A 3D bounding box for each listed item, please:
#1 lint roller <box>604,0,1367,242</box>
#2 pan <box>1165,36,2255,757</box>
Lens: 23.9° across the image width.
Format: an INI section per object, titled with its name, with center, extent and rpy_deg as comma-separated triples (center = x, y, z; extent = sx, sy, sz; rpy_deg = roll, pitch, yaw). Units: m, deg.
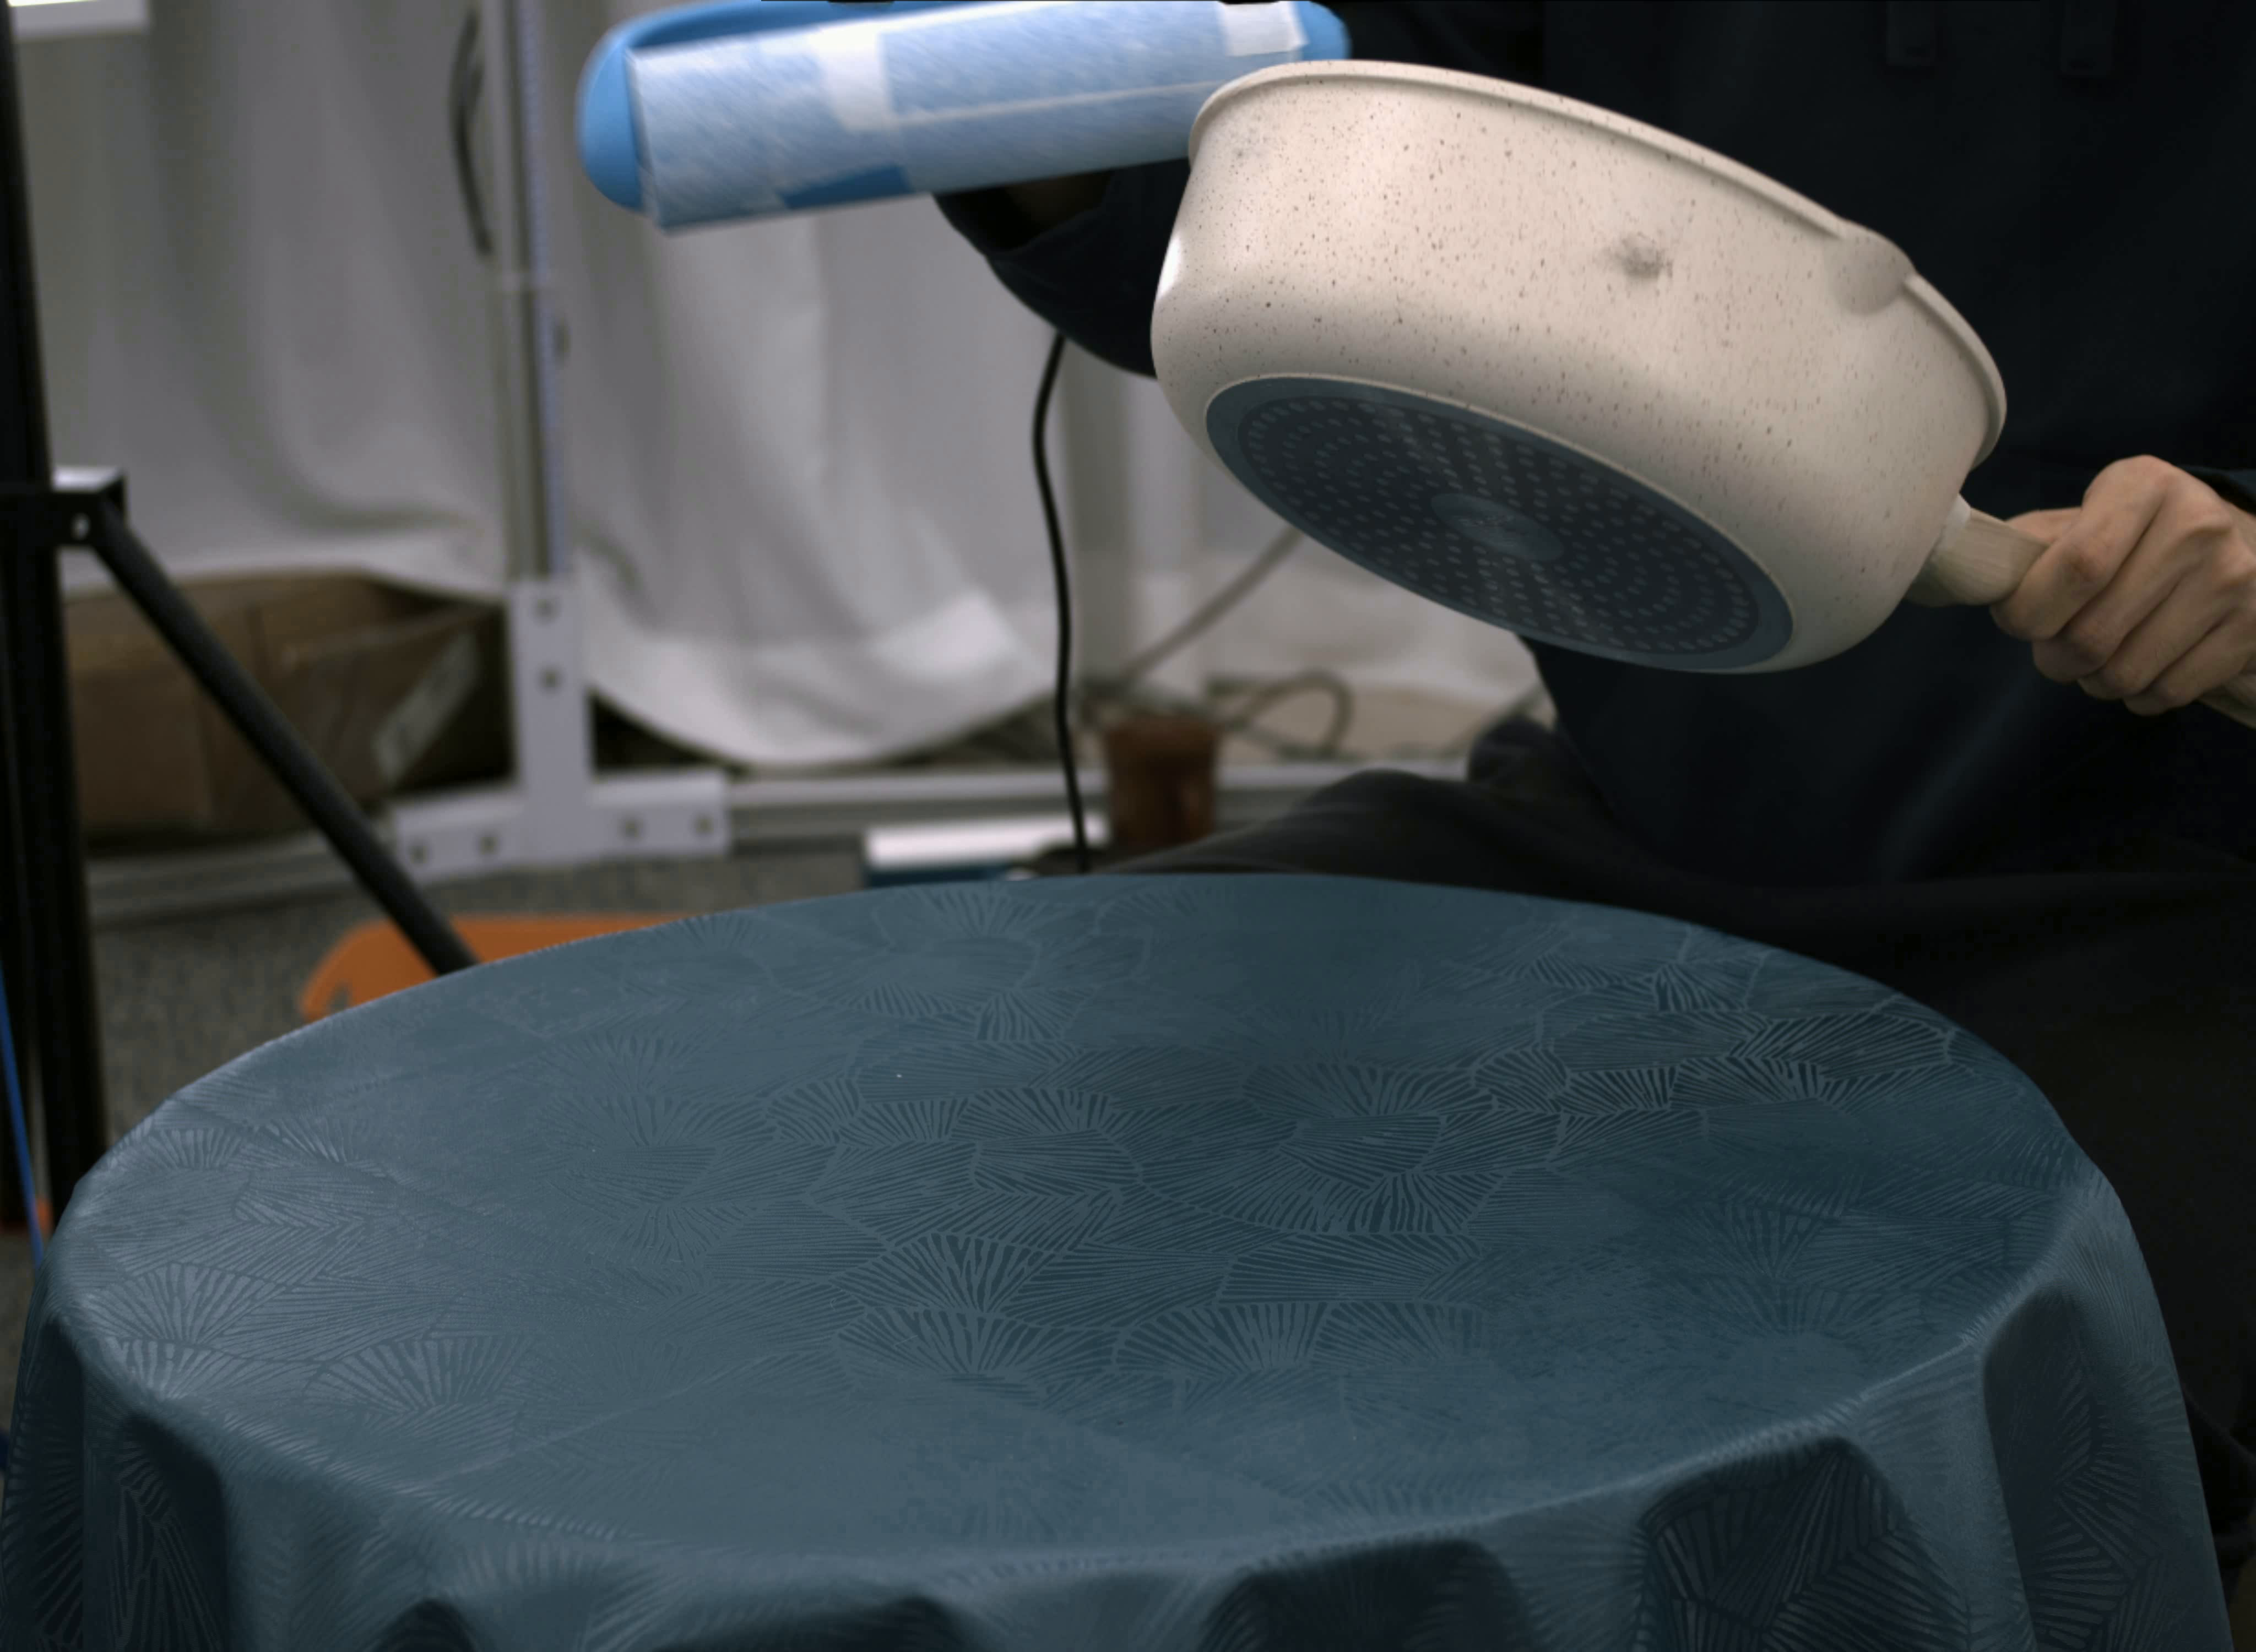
[lint roller]
center = -0.052, -0.228, 1.631
extent = 0.227, 0.068, 0.182
rpy_deg = -12, 14, -6
[pan]
center = 0.195, -0.089, 1.574
extent = 0.425, 0.102, 0.268
rpy_deg = 31, -18, -29
